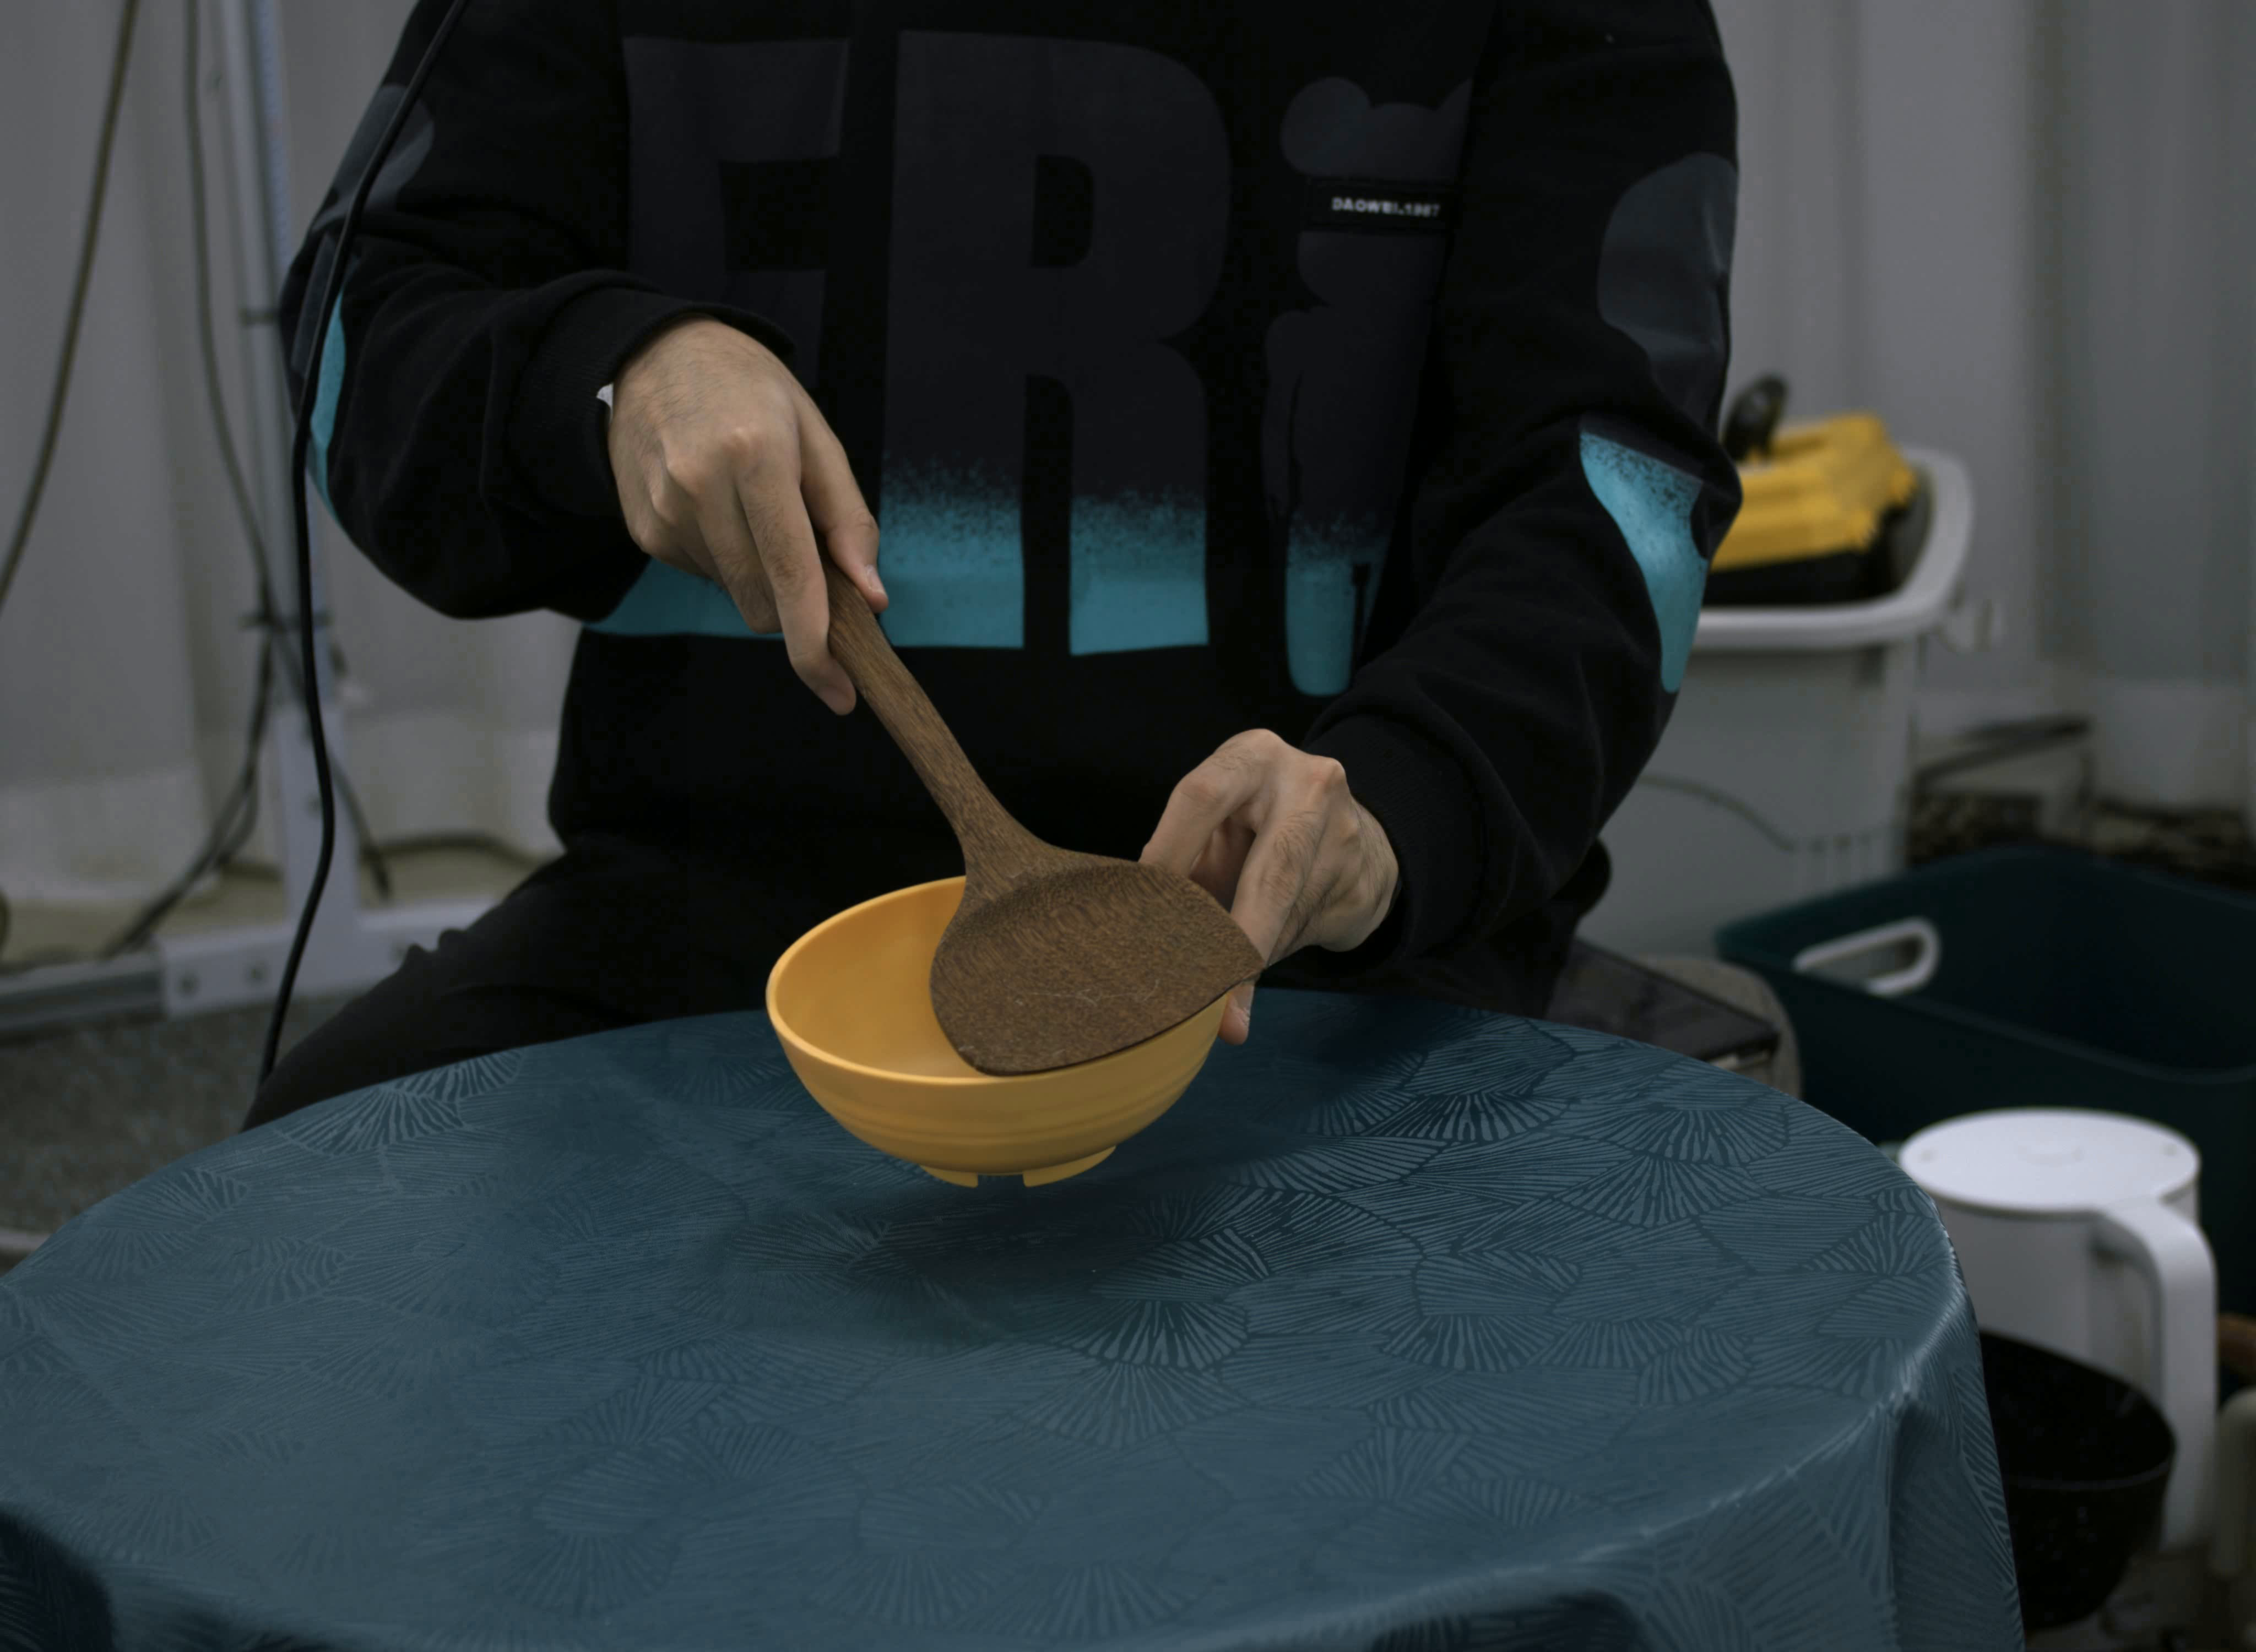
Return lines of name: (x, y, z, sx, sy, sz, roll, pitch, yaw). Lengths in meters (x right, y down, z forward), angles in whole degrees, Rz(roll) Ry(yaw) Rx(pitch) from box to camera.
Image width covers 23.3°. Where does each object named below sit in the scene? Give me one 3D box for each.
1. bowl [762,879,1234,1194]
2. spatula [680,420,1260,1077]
bowl: (-0.039, 0.072, 1.677, 0.145, 0.059, 0.147, -1, 23, 0)
spatula: (-0.071, -0.037, 1.753, 0.096, 0.015, 0.391, -23, 40, -12)
